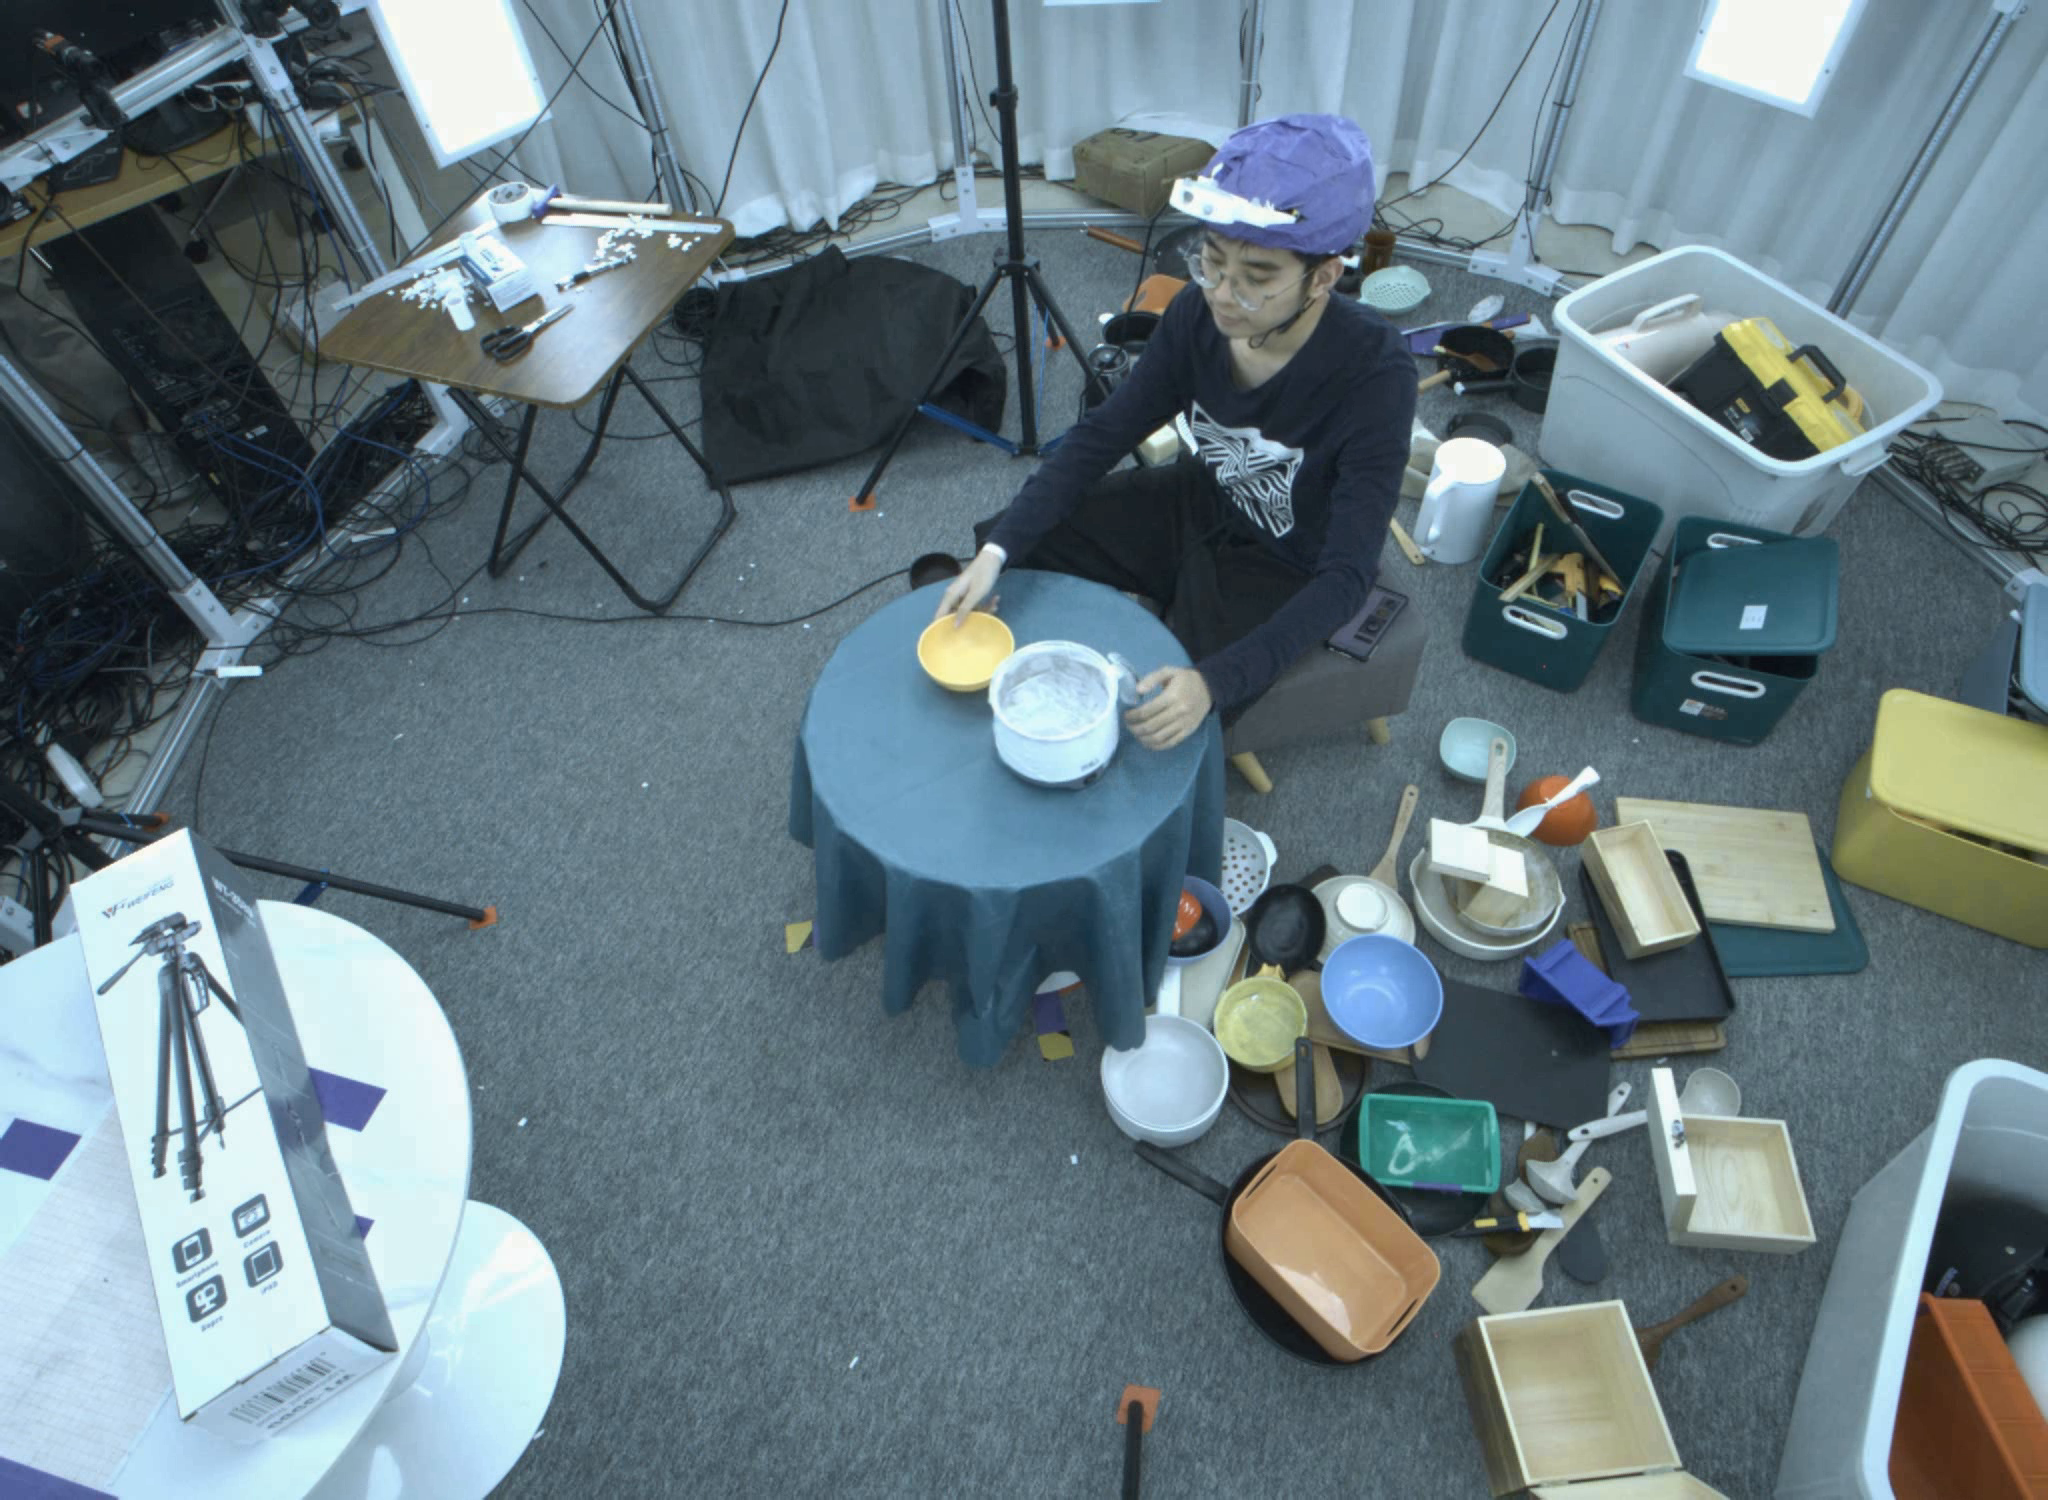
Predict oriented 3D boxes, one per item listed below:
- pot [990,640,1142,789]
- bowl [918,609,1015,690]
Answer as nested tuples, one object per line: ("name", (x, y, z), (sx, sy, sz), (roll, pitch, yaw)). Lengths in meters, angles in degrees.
("pot", (0.067, -0.060, 1.751), (0.235, 0.138, 0.175), (-31, 61, -17))
("bowl", (-0.085, -0.140, 1.859), (0.145, 0.061, 0.144), (0, 56, 1))
